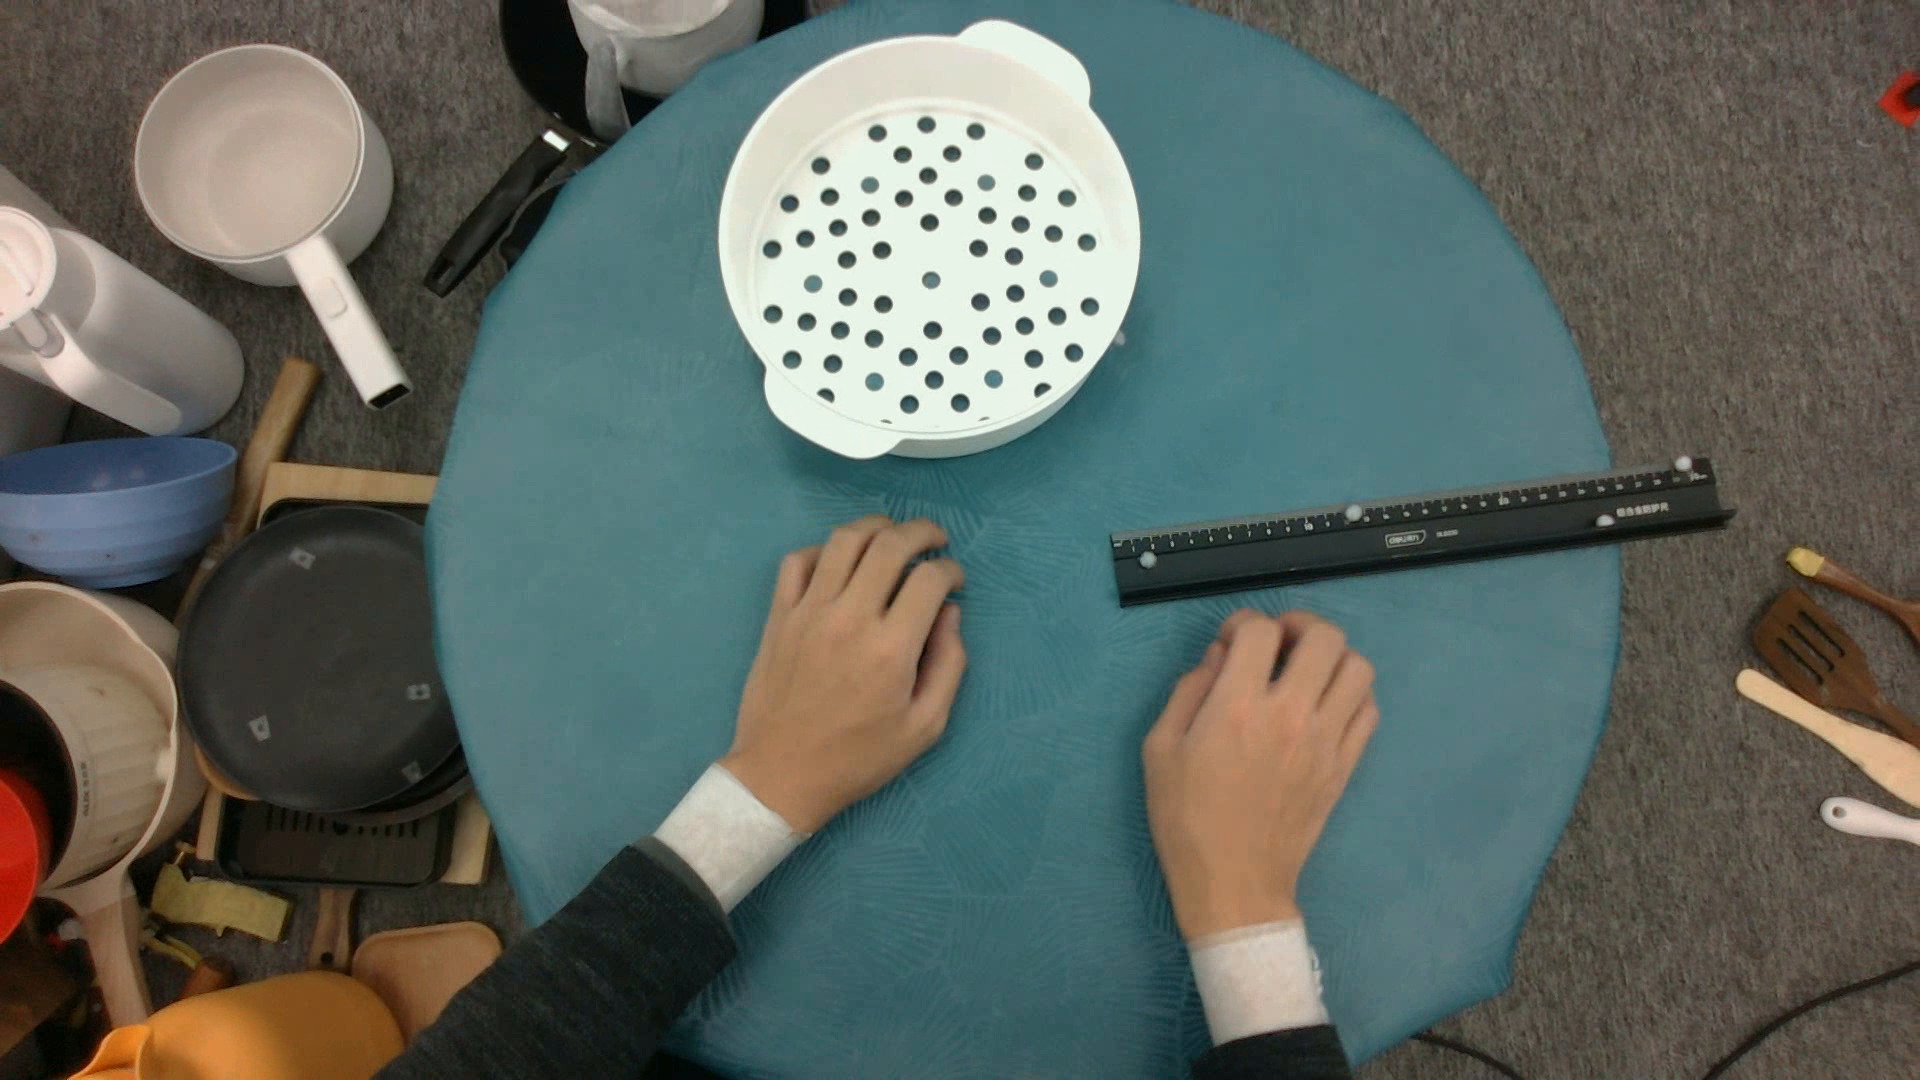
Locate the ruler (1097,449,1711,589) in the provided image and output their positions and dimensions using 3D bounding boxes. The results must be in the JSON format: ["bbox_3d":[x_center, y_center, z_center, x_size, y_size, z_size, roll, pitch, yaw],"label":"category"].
[{"bbox_3d":[0.226,-0.013,0.697,0.313,0.017,0.039,-7,78,-3],"label":"ruler"}]

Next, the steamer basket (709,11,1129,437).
[{"bbox_3d":[-0.020,-0.150,0.686,0.202,0.069,0.231,28,78,3],"label":"steamer basket"}]
